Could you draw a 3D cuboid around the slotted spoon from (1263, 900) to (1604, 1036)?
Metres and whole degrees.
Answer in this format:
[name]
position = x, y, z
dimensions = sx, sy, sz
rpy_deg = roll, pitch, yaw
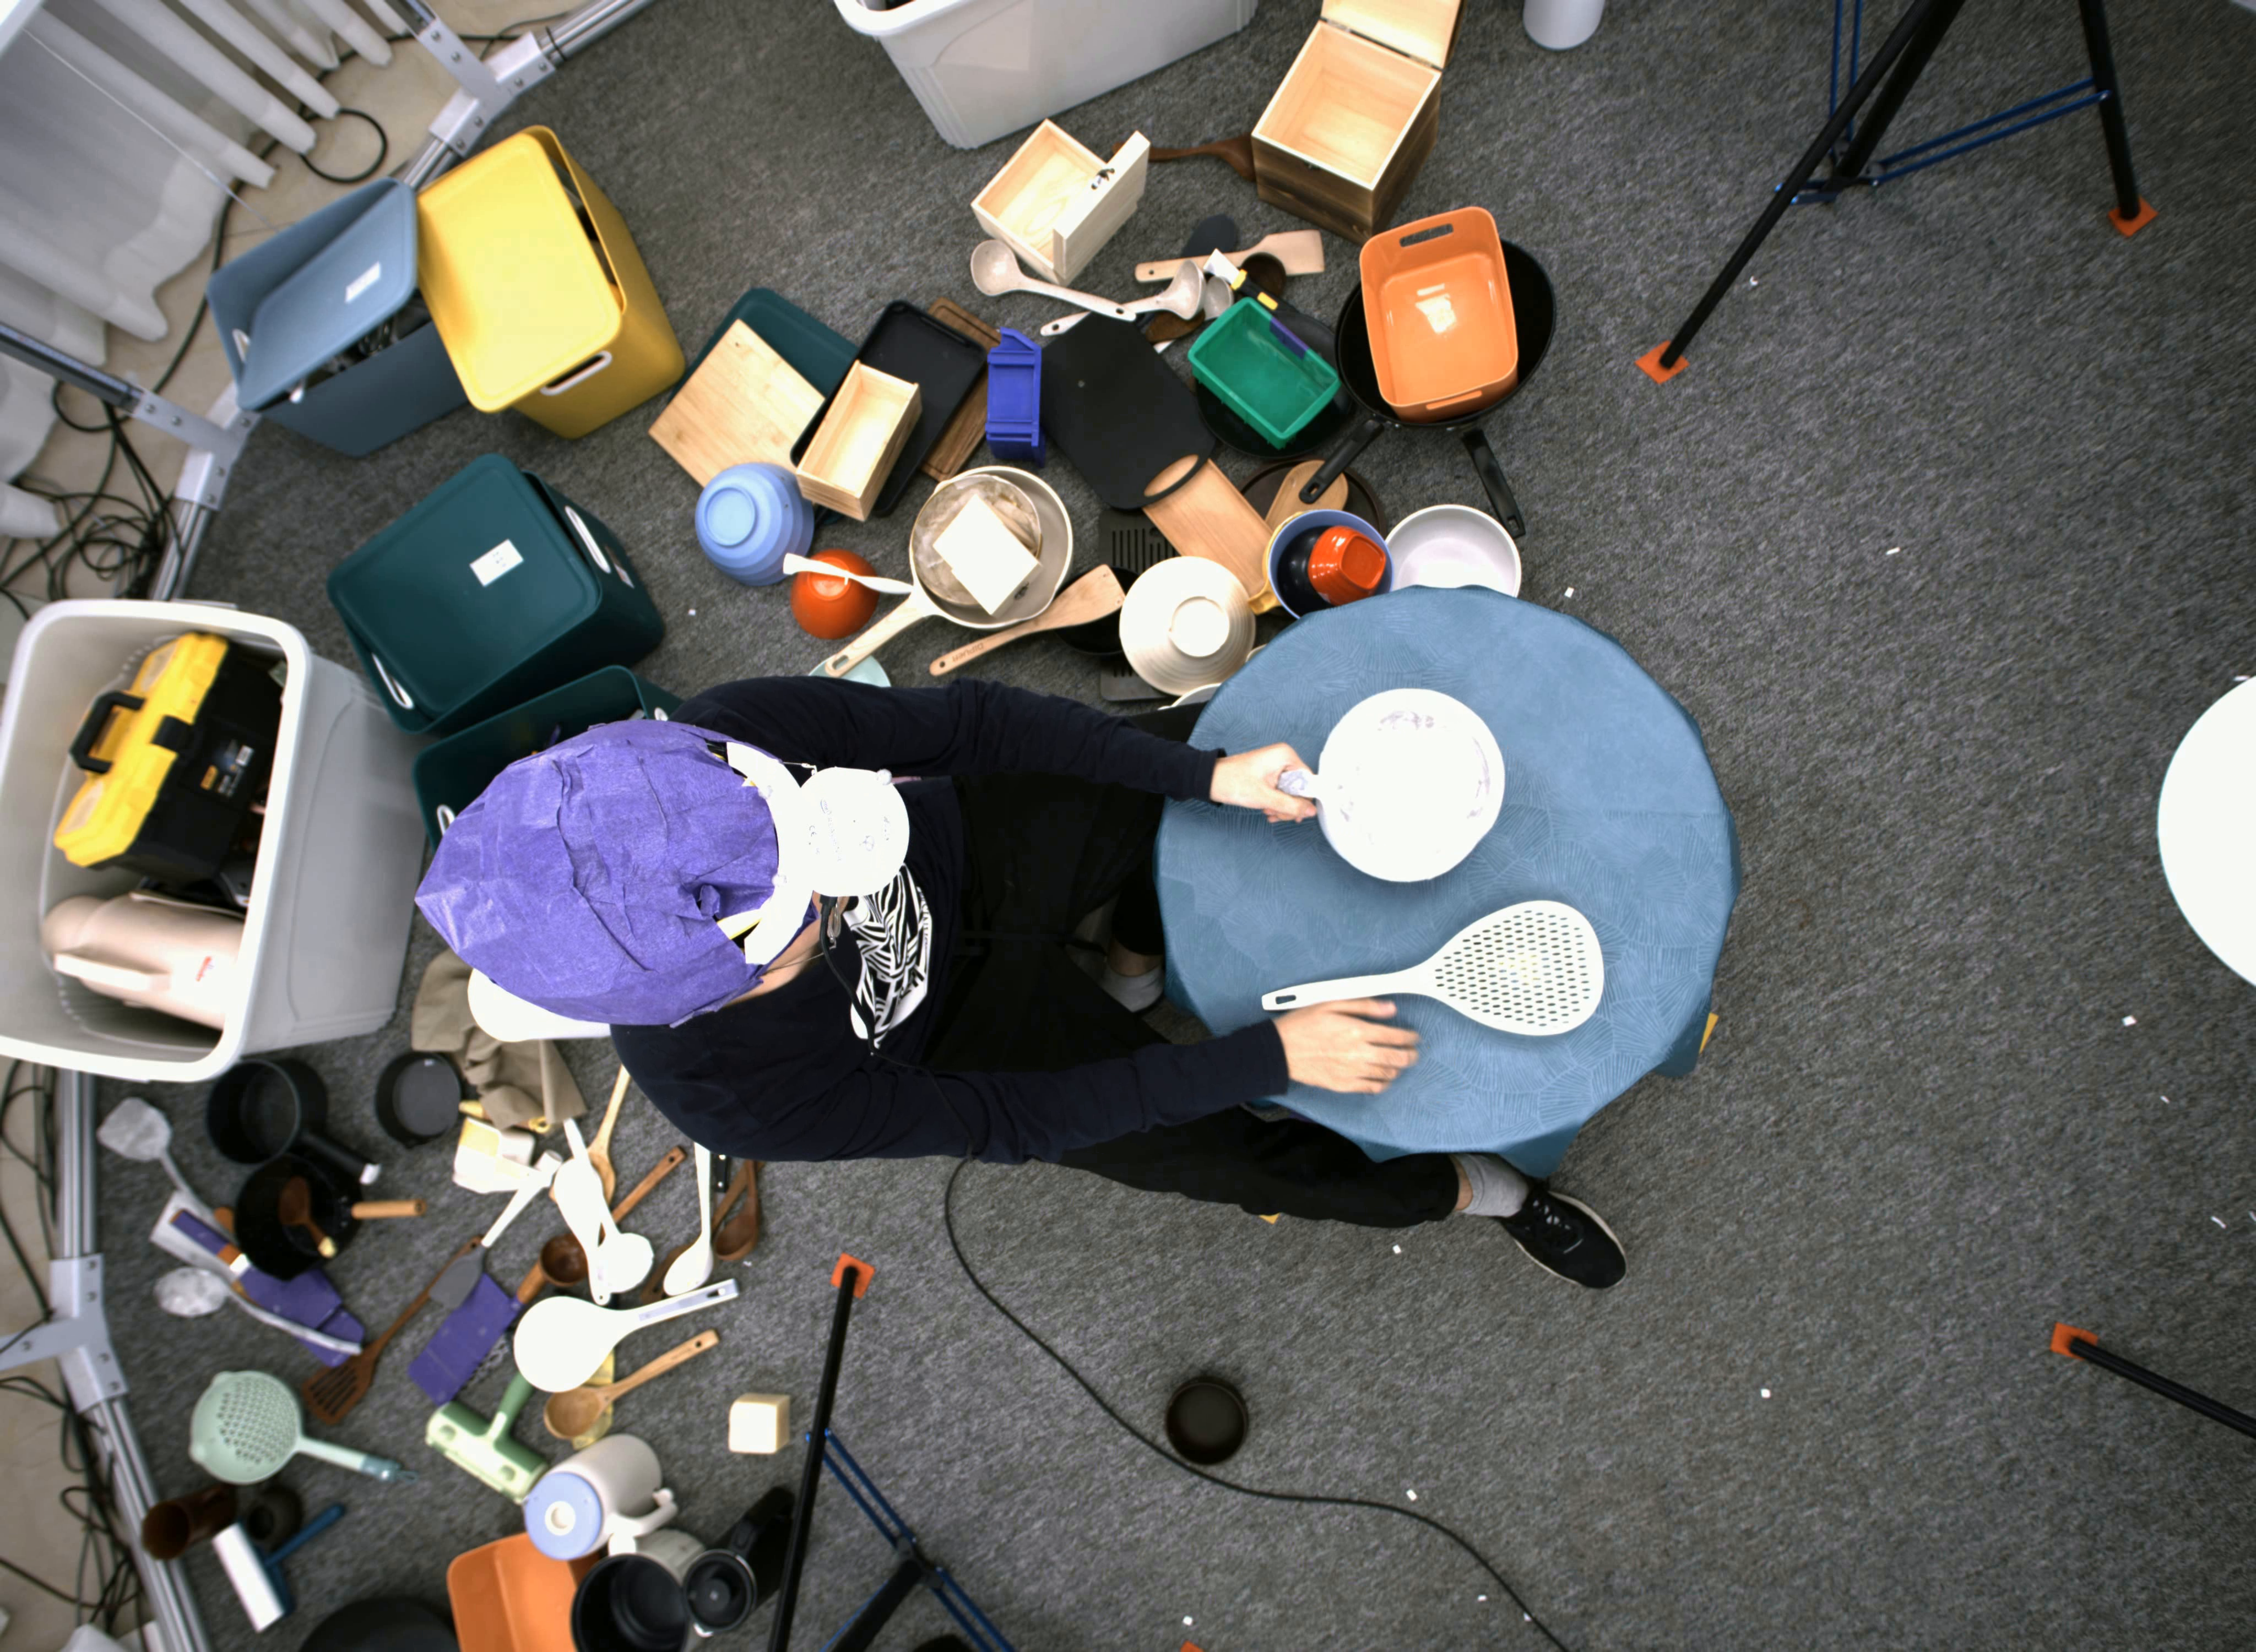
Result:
[slotted spoon]
position = 0.309, 0.160, 1.426
dimensions = 0.349, 0.050, 0.136
rpy_deg = -9, 86, 9

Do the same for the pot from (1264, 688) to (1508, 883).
[pot]
position = 0.254, -0.036, 1.390
dimensions = 0.234, 0.137, 0.177
rpy_deg = -2, 80, 6
